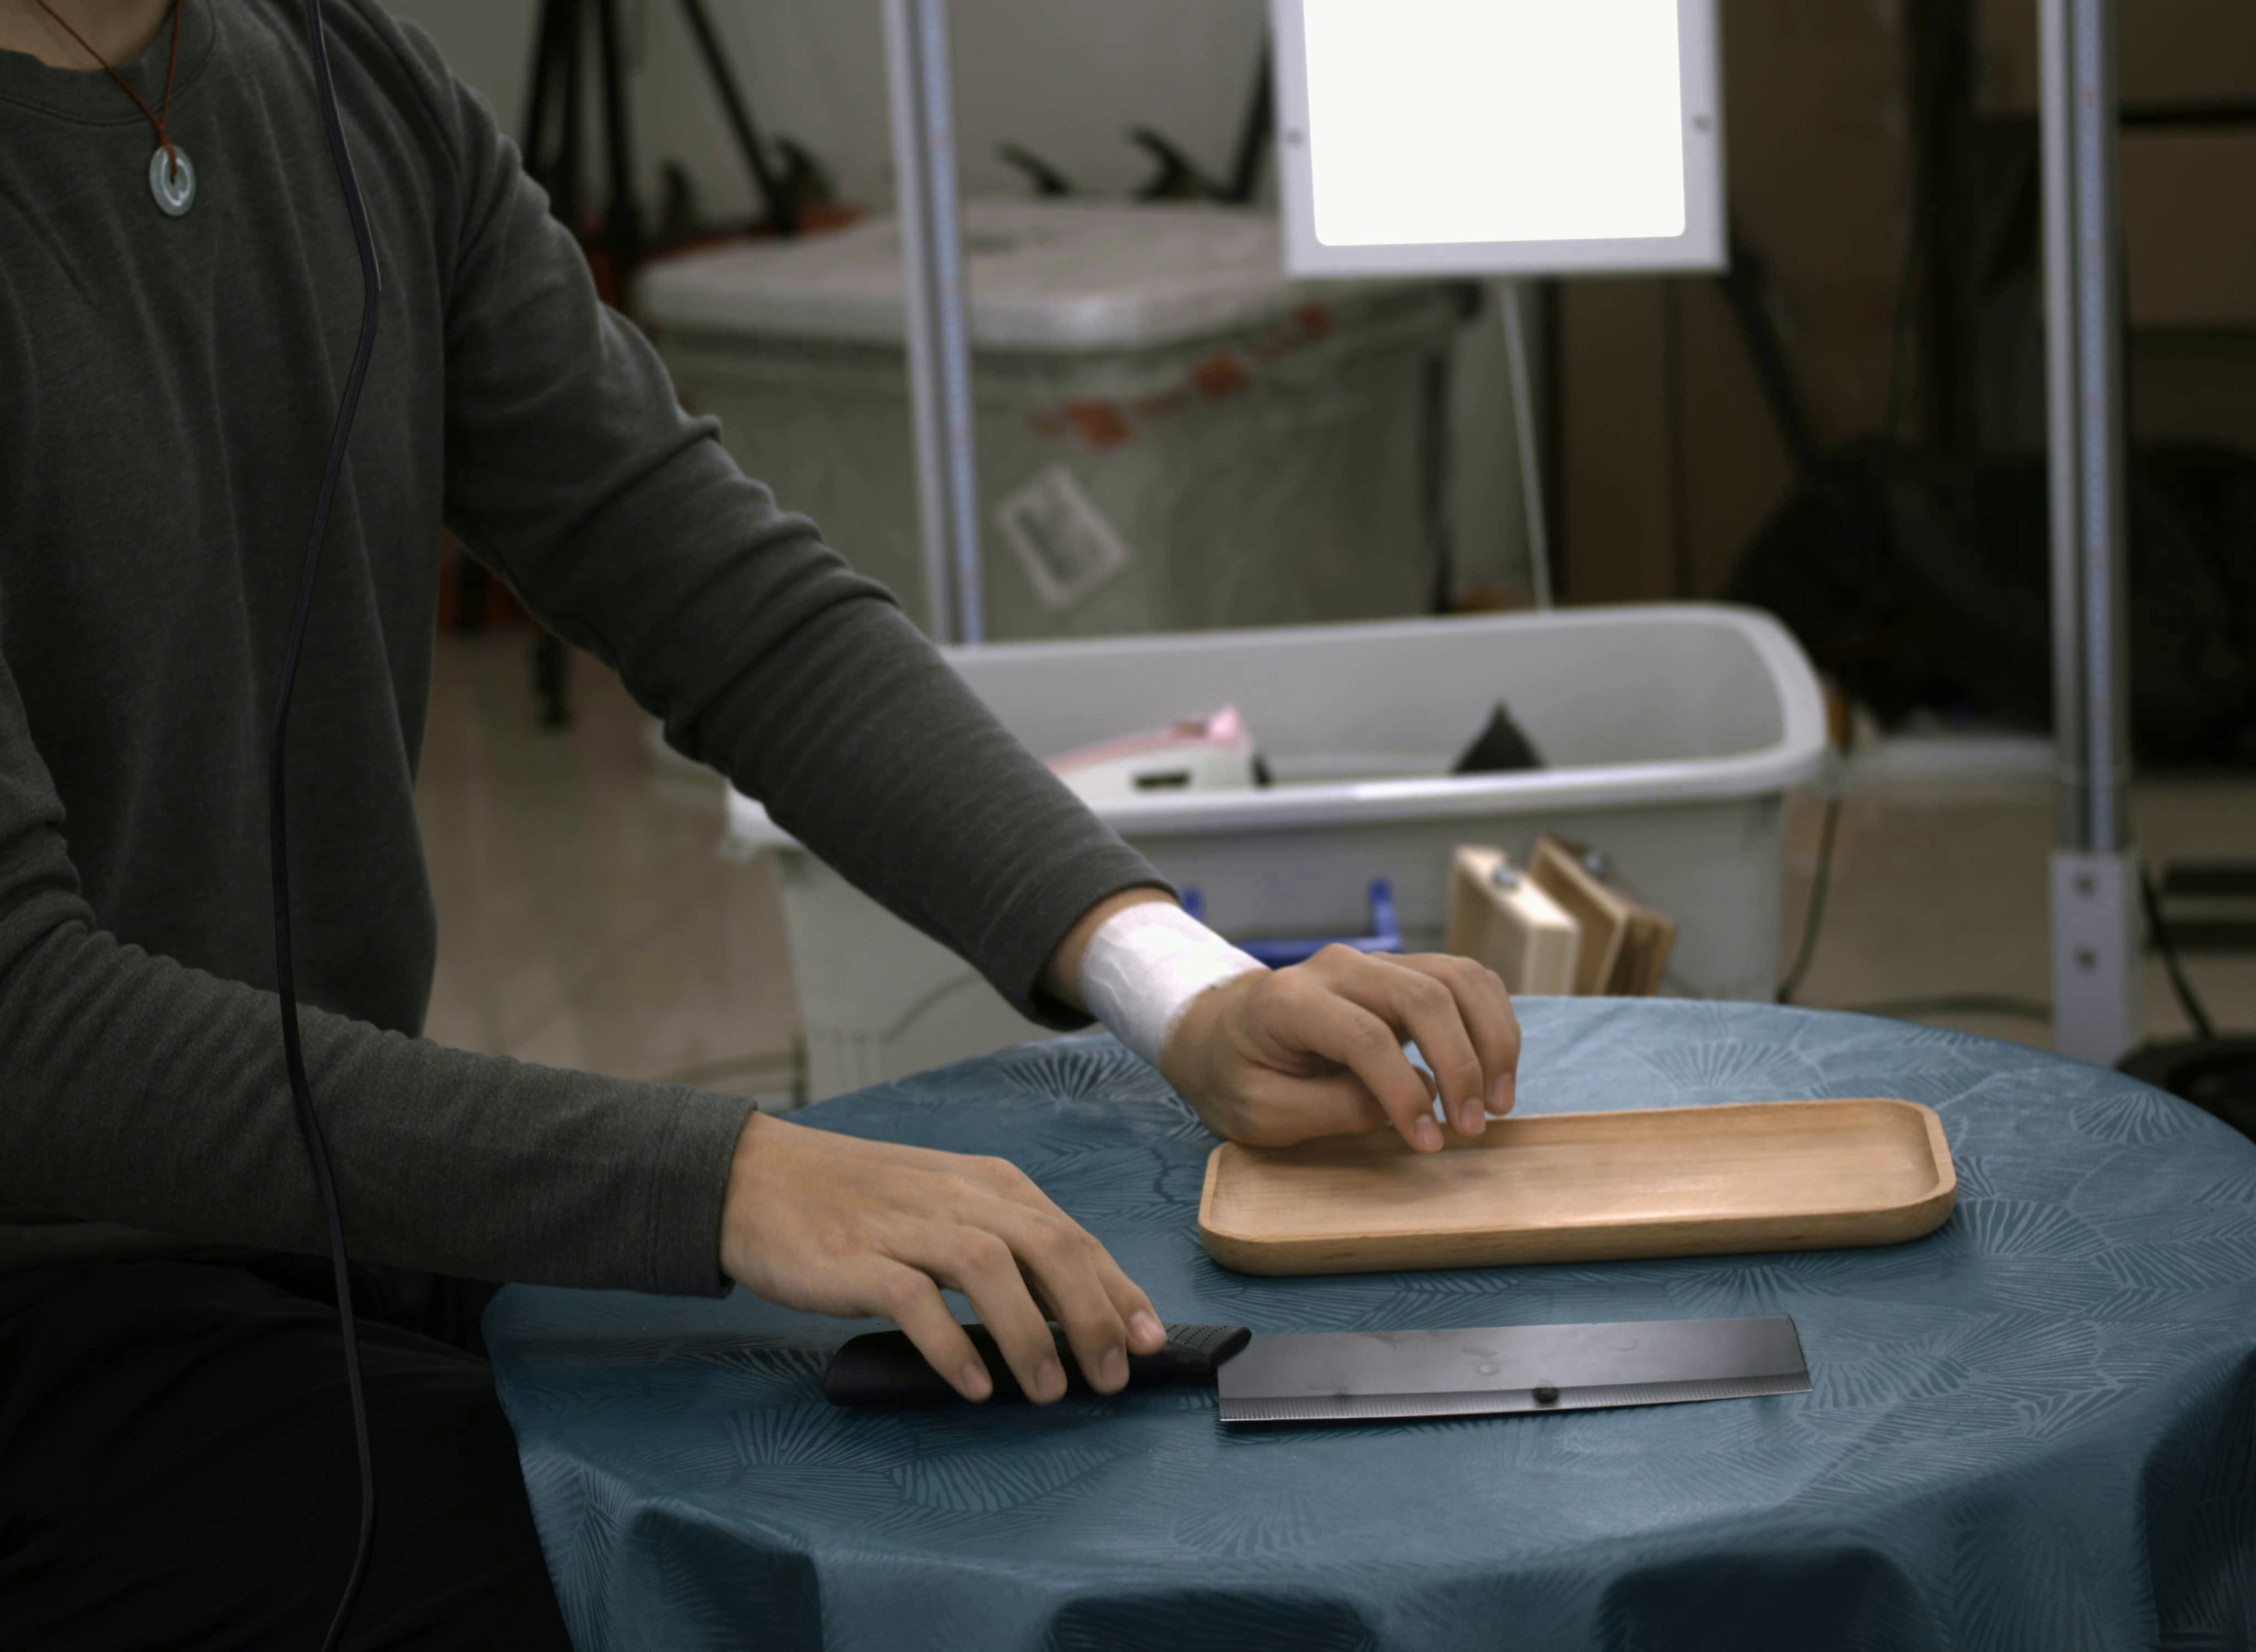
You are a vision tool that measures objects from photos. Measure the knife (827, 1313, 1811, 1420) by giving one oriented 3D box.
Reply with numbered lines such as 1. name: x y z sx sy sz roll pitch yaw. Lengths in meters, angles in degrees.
1. knife: 0.058 0.167 1.689 0.303 0.021 0.080 -2 17 8

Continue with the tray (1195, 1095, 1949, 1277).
1. tray: 0.149 0.120 1.840 0.252 0.023 0.129 -4 11 8
